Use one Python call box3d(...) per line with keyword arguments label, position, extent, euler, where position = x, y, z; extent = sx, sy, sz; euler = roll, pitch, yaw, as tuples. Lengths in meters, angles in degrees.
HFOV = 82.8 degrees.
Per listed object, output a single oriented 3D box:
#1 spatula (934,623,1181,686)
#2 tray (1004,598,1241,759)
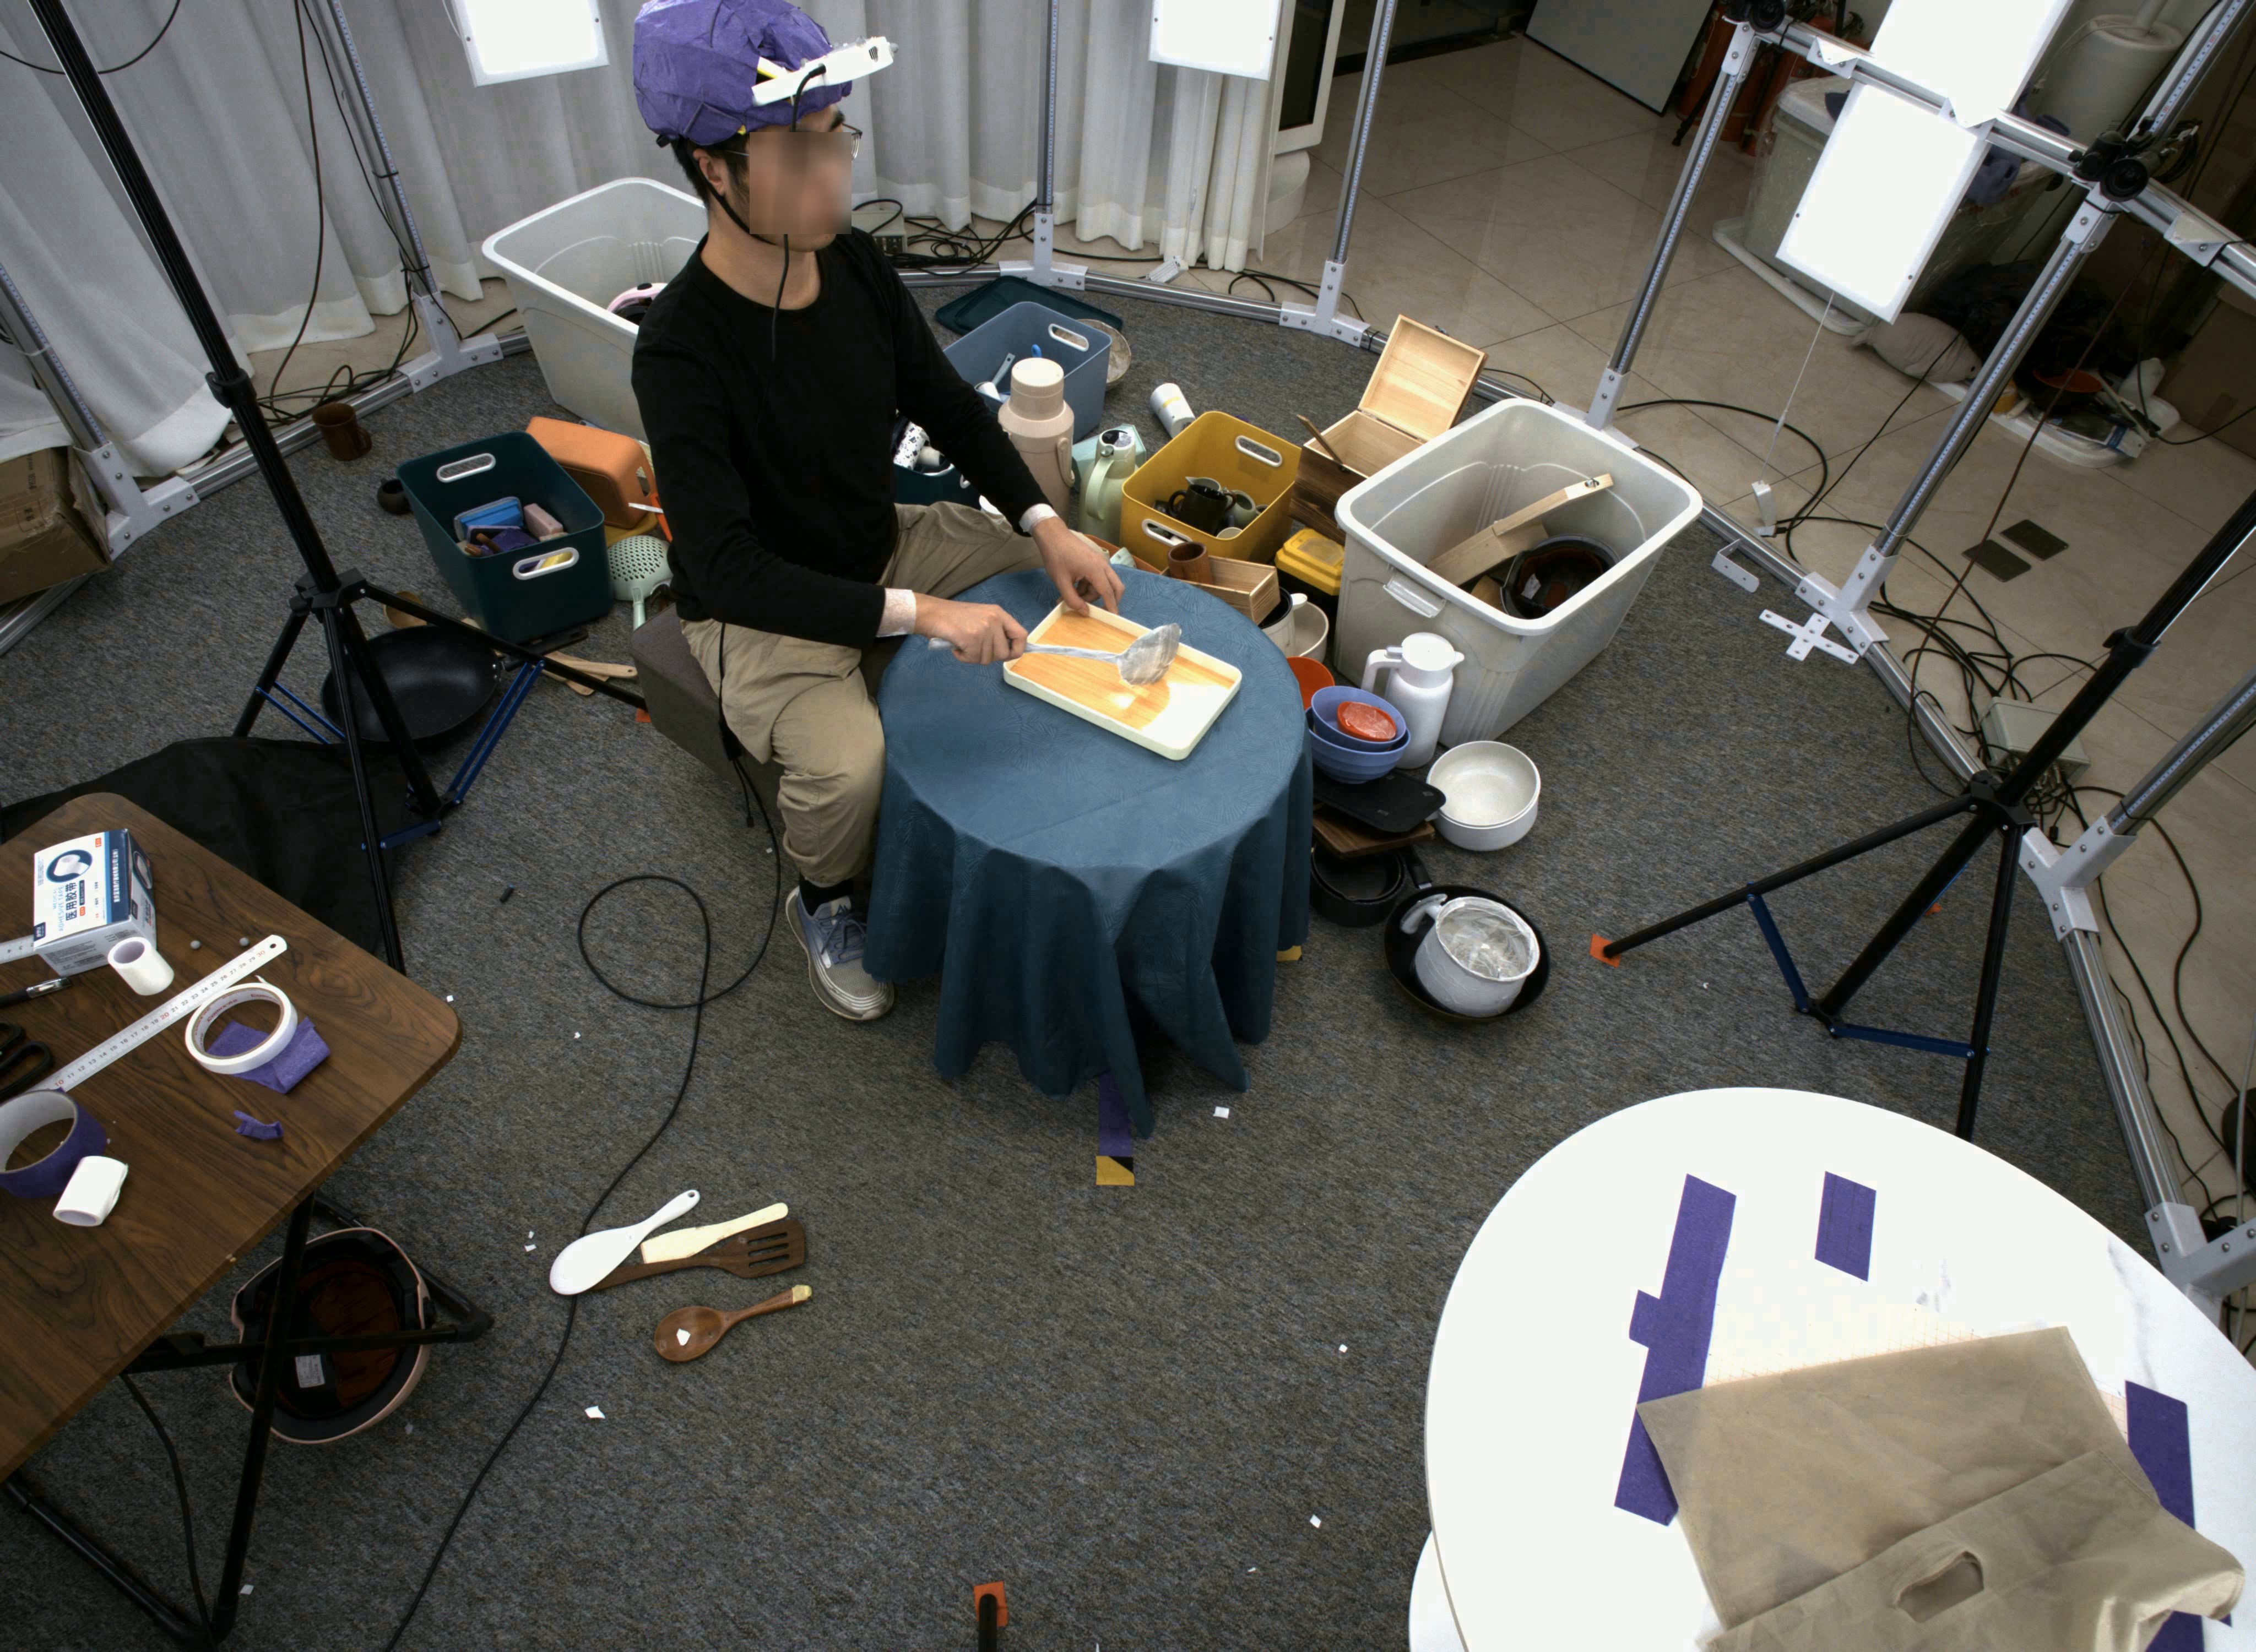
box3d(label="spatula", position=(-0.088, -0.240, 1.745), extent=(0.363, 0.097, 0.046), euler=(2, 36, -24))
box3d(label="tray", position=(-0.007, -0.216, 1.839), extent=(0.303, 0.027, 0.194), euler=(26, 53, 18))
